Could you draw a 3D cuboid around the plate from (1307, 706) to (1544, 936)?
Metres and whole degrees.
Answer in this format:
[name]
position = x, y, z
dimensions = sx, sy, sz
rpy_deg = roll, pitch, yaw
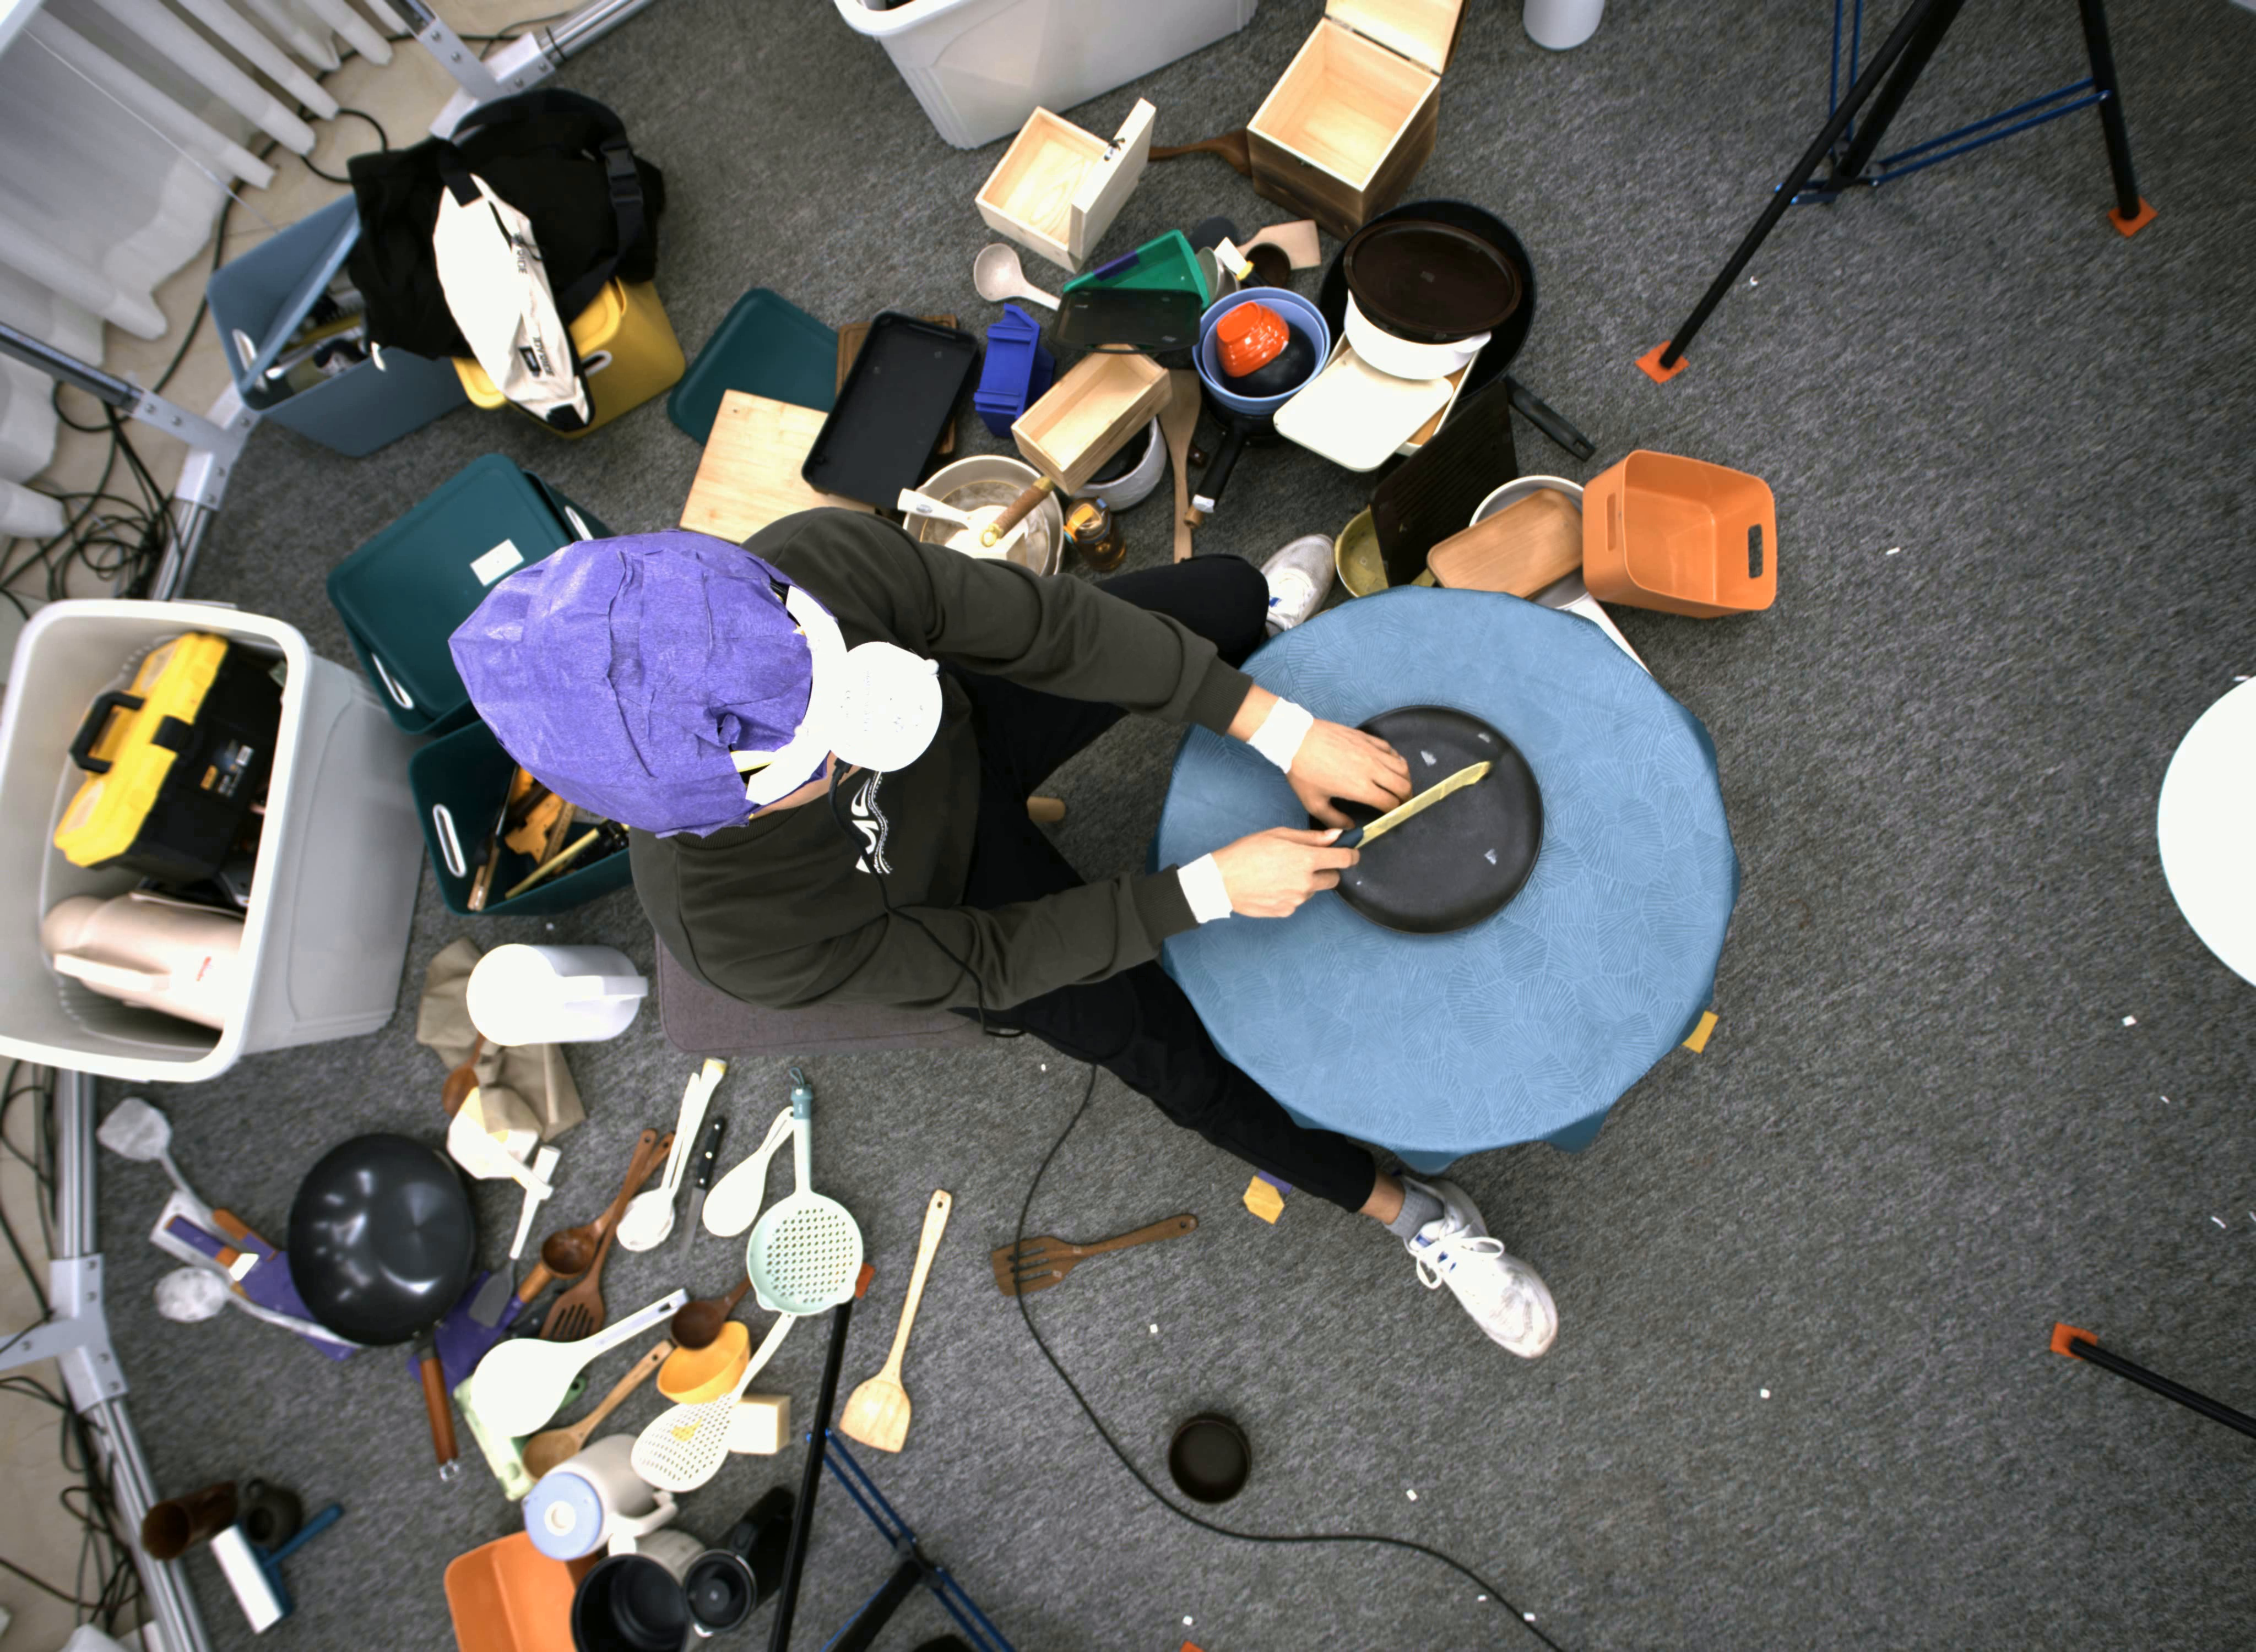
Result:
[plate]
position = 0.311, -0.007, 1.445
dimensions = 0.245, 0.023, 0.243
rpy_deg = -1, 86, 11

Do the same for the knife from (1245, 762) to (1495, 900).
[knife]
position = 0.250, 0.002, 1.416
dimensions = 0.290, 0.082, 0.027
rpy_deg = -28, 73, 3
